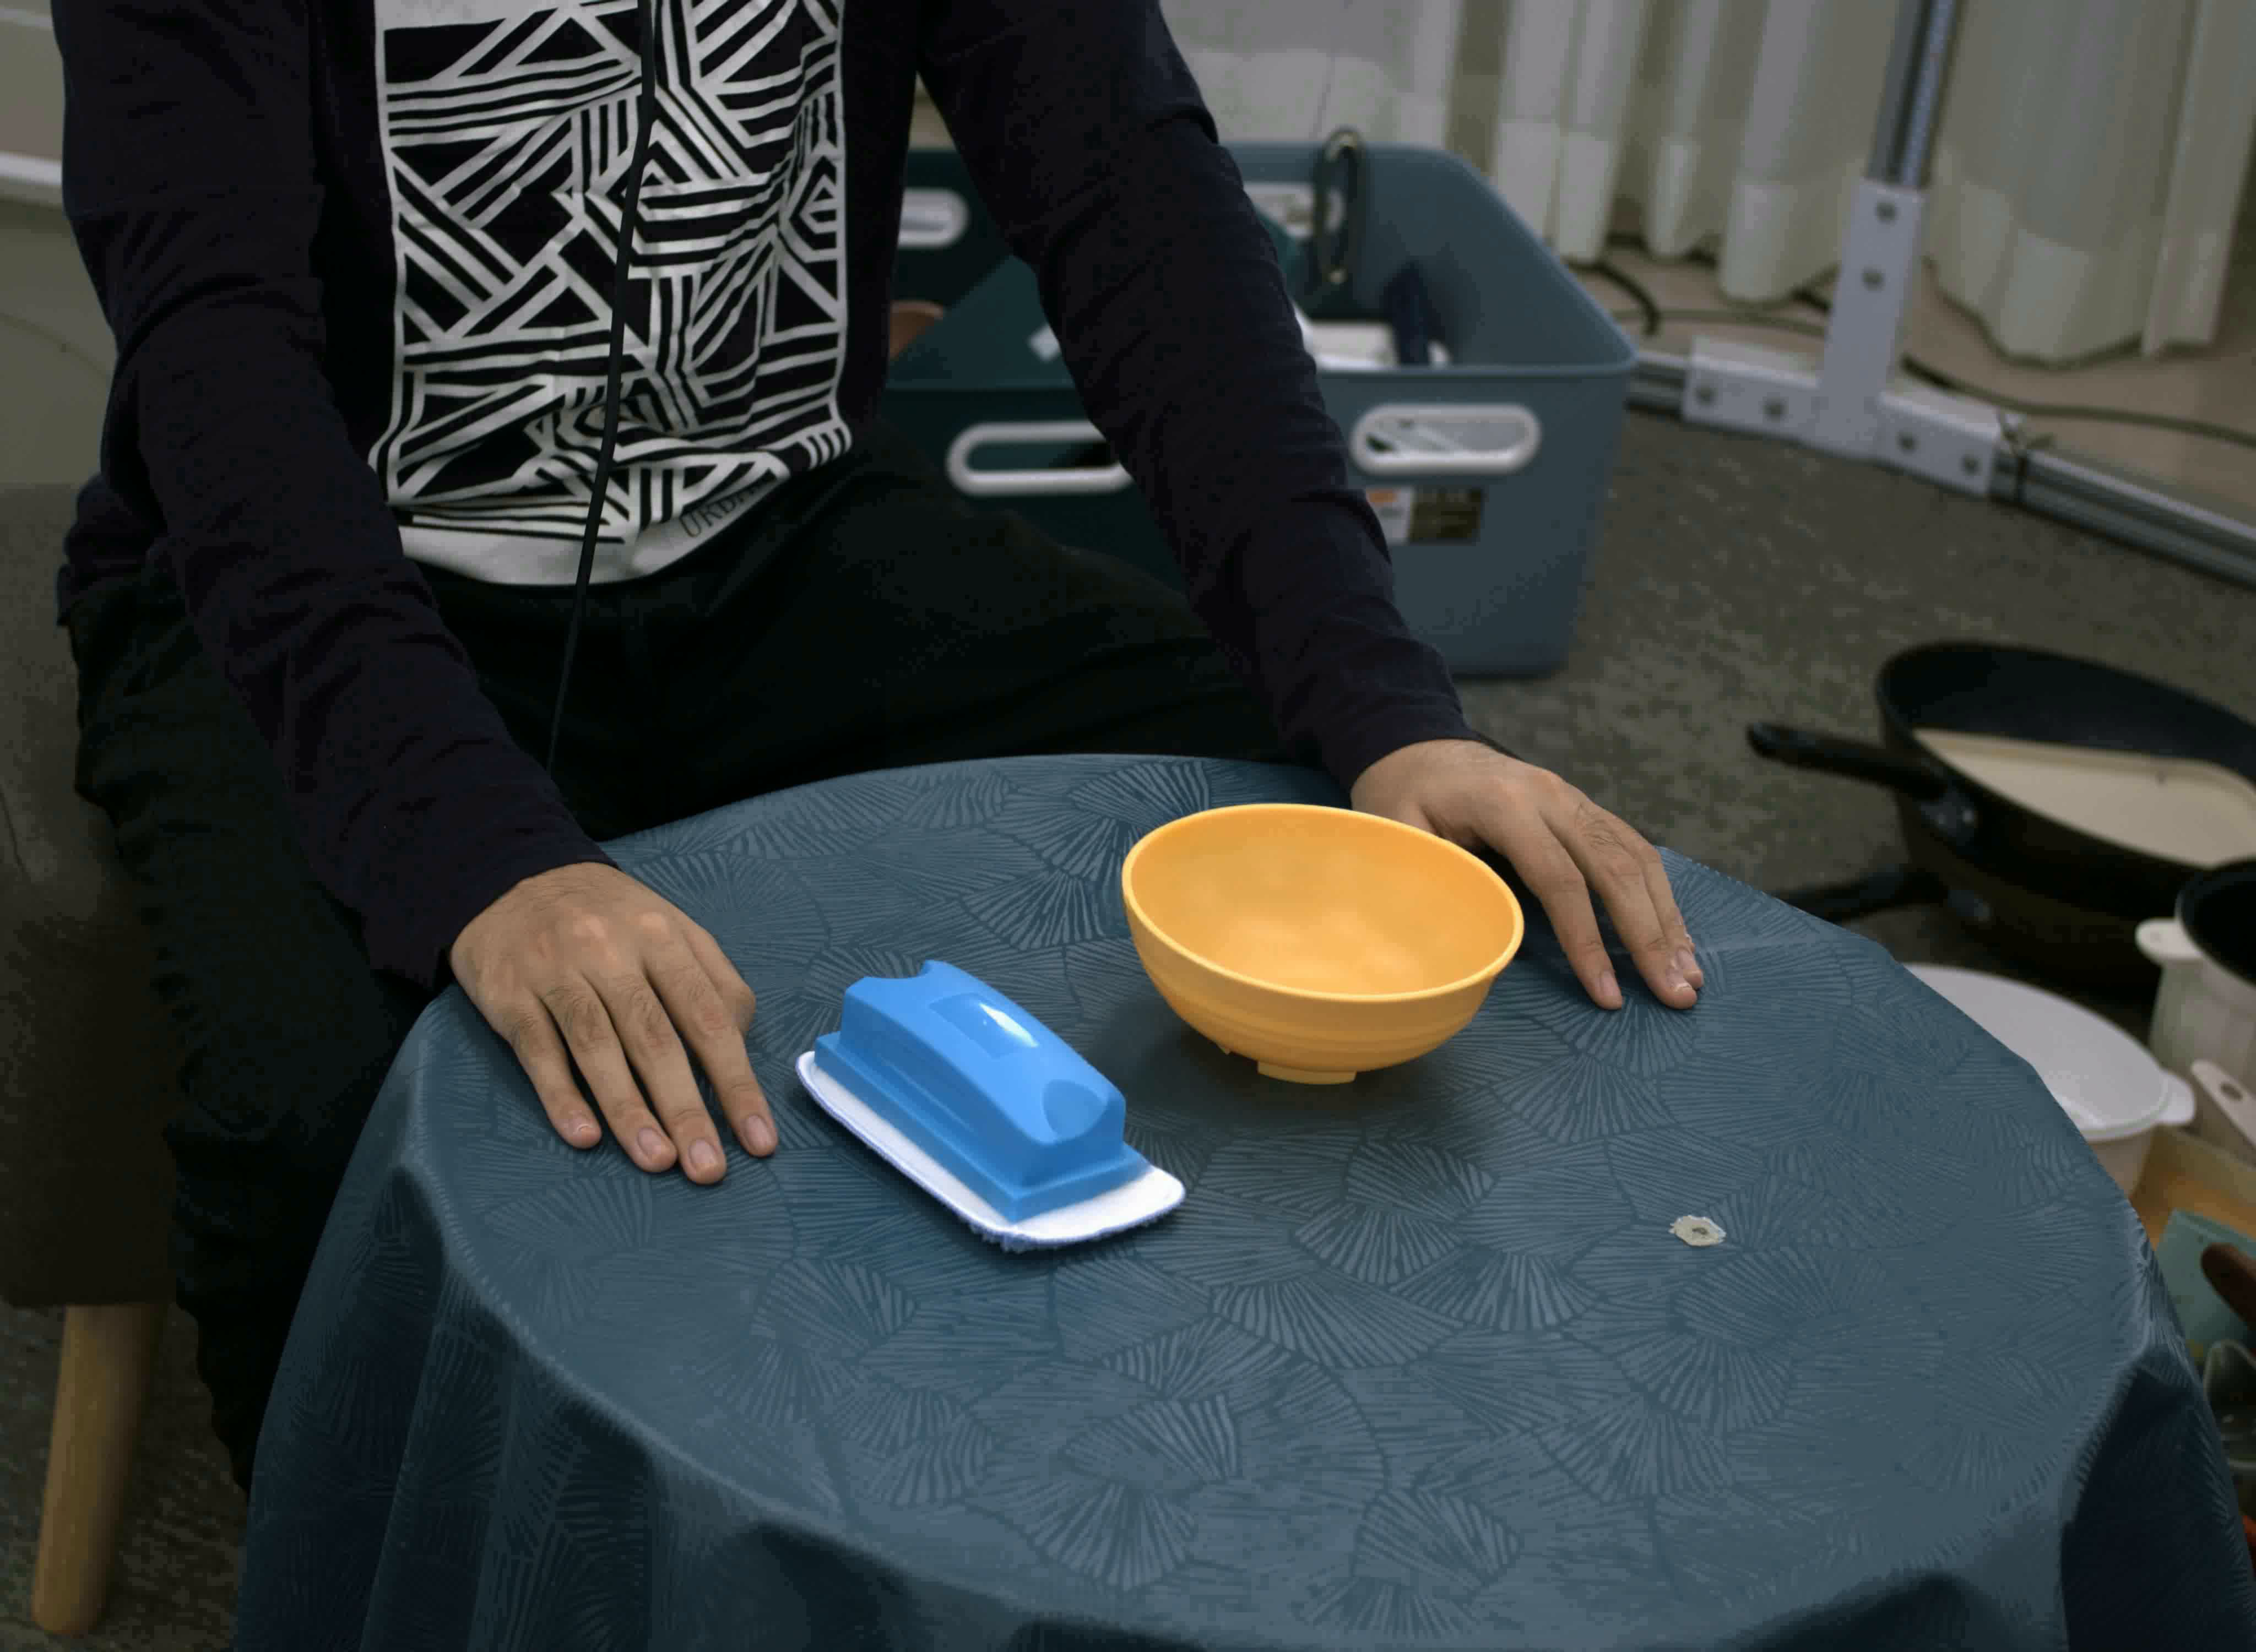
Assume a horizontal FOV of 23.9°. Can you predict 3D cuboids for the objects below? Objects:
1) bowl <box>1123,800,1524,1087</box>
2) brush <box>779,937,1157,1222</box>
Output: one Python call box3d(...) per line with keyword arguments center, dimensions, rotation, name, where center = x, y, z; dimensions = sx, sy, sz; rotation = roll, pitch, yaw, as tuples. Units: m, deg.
box3d(center=(0.065, 0.051, 1.902), dimensions=(0.145, 0.060, 0.146), rotation=(7, 28, -4), name="bowl")
box3d(center=(-0.052, 0.082, 1.809), dimensions=(0.083, 0.056, 0.145), rotation=(-8, 32, -35), name="brush")
